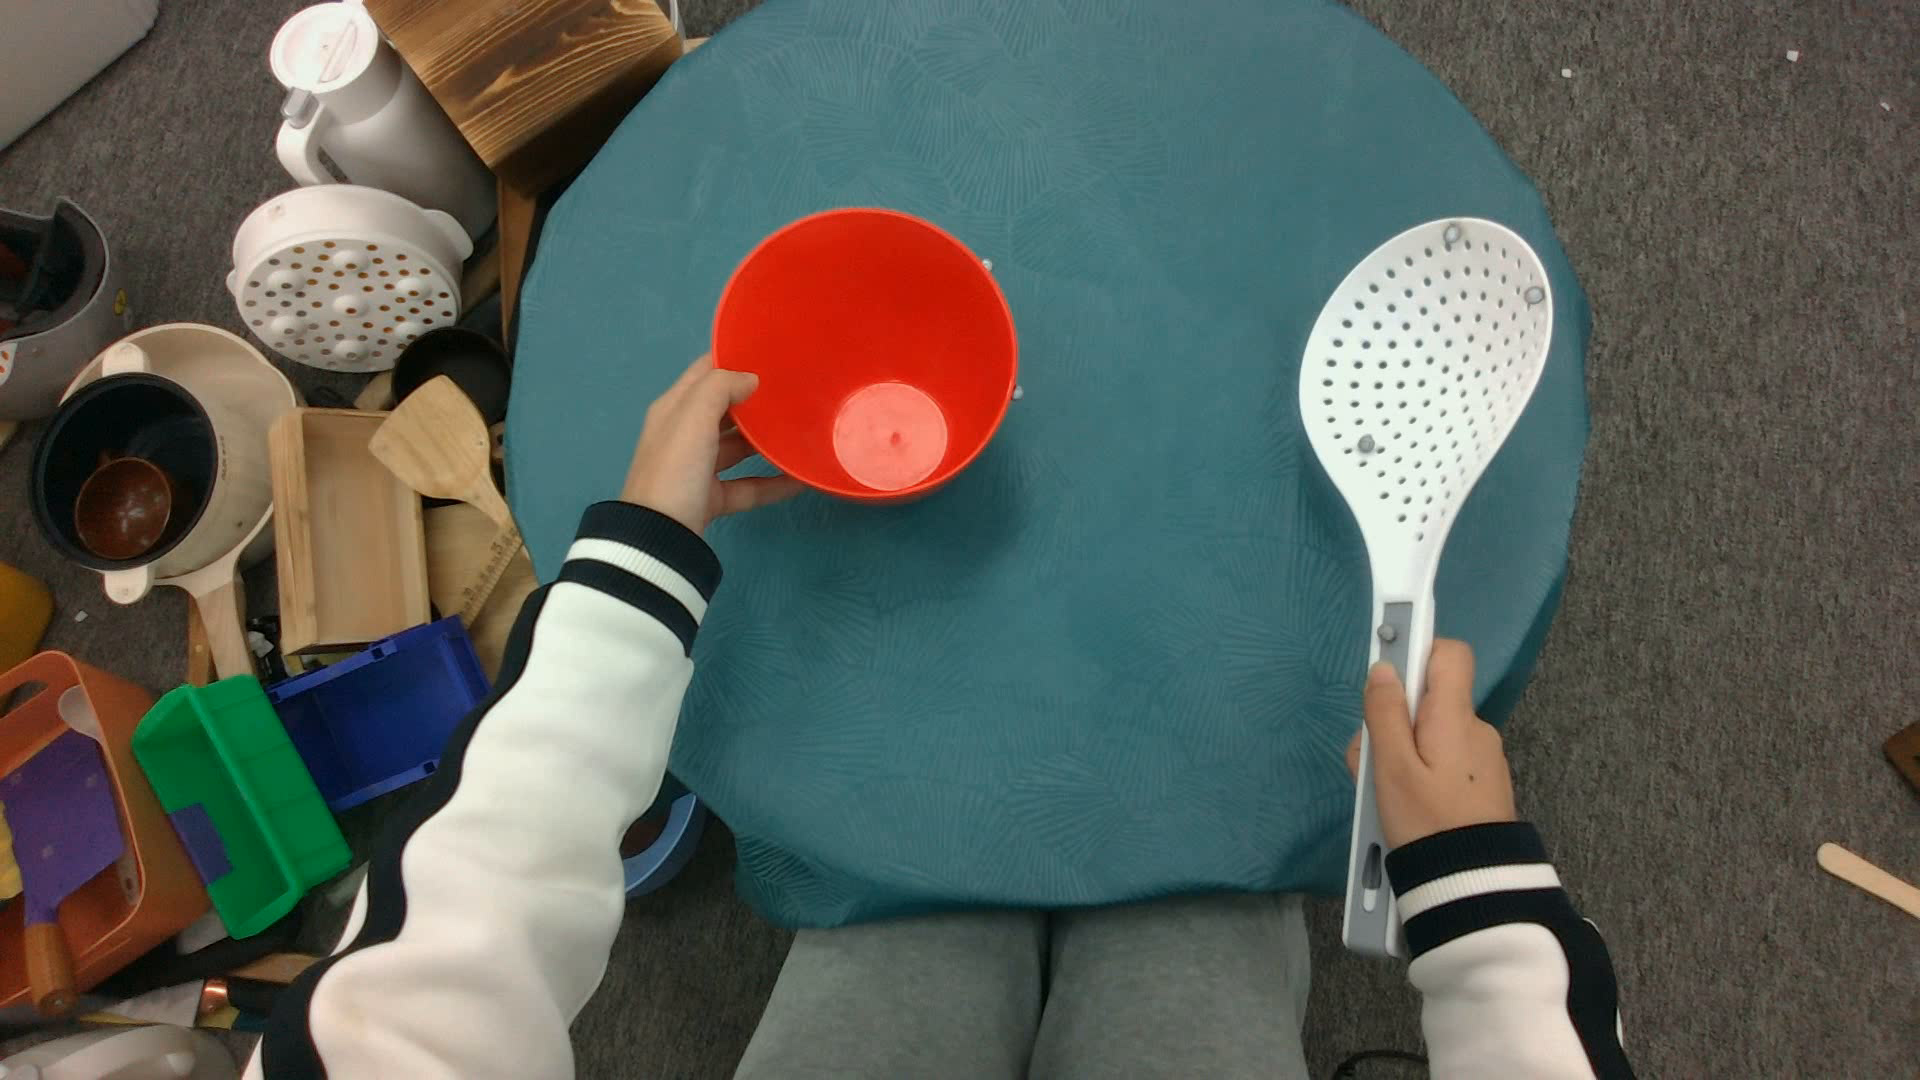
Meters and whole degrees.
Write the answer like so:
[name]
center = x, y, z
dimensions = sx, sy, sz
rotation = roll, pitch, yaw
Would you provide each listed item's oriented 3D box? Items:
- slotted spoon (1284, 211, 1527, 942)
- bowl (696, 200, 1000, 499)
[slotted spoon]
center = 0.203, 0.009, 0.652
dimensions = 0.046, 0.135, 0.350
rotation = 24, 70, -34
[bowl]
center = -0.055, -0.084, 0.706
dimensions = 0.148, 0.104, 0.148
rotation = 1, 70, -3
